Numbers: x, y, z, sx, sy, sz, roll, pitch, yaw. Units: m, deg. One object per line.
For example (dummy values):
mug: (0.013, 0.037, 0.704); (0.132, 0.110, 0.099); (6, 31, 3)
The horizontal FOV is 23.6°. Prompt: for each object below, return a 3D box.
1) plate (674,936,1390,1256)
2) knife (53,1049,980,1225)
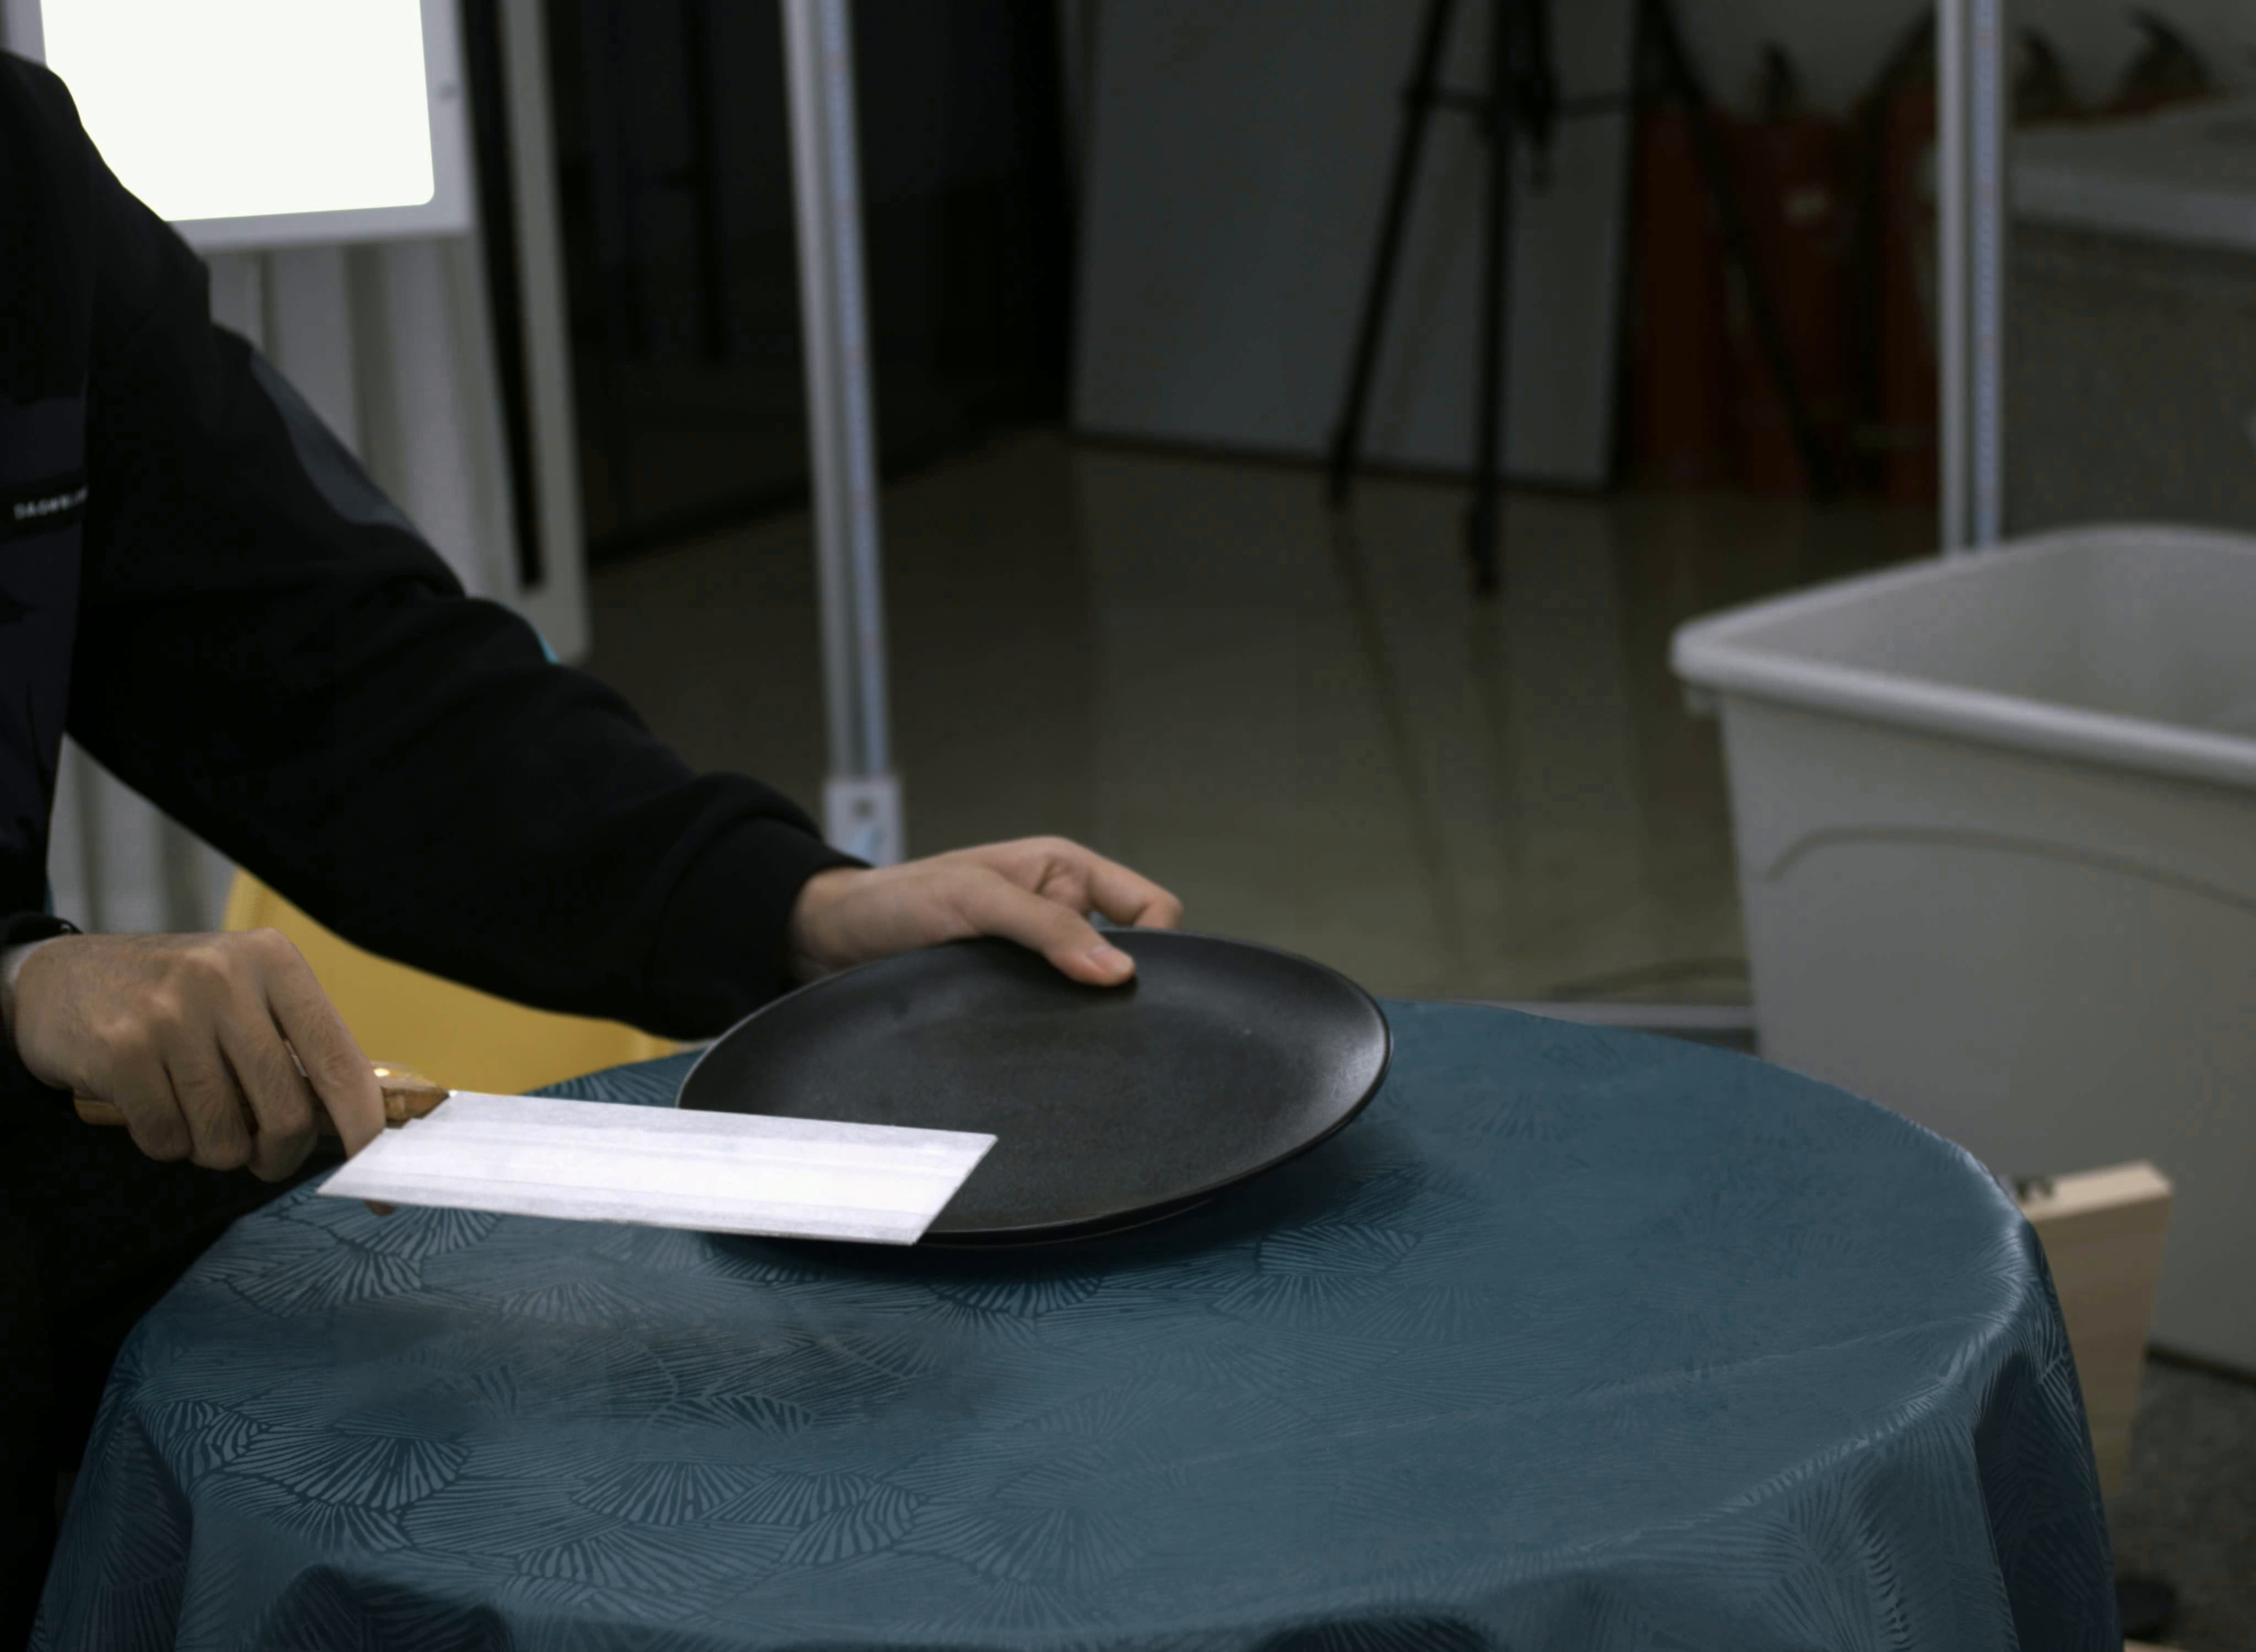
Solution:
plate: (-0.031, 0.093, 1.798); (0.241, 0.023, 0.245); (-7, 21, 2)
knife: (-0.196, 0.098, 1.652); (0.304, 0.021, 0.092); (3, 17, 16)
